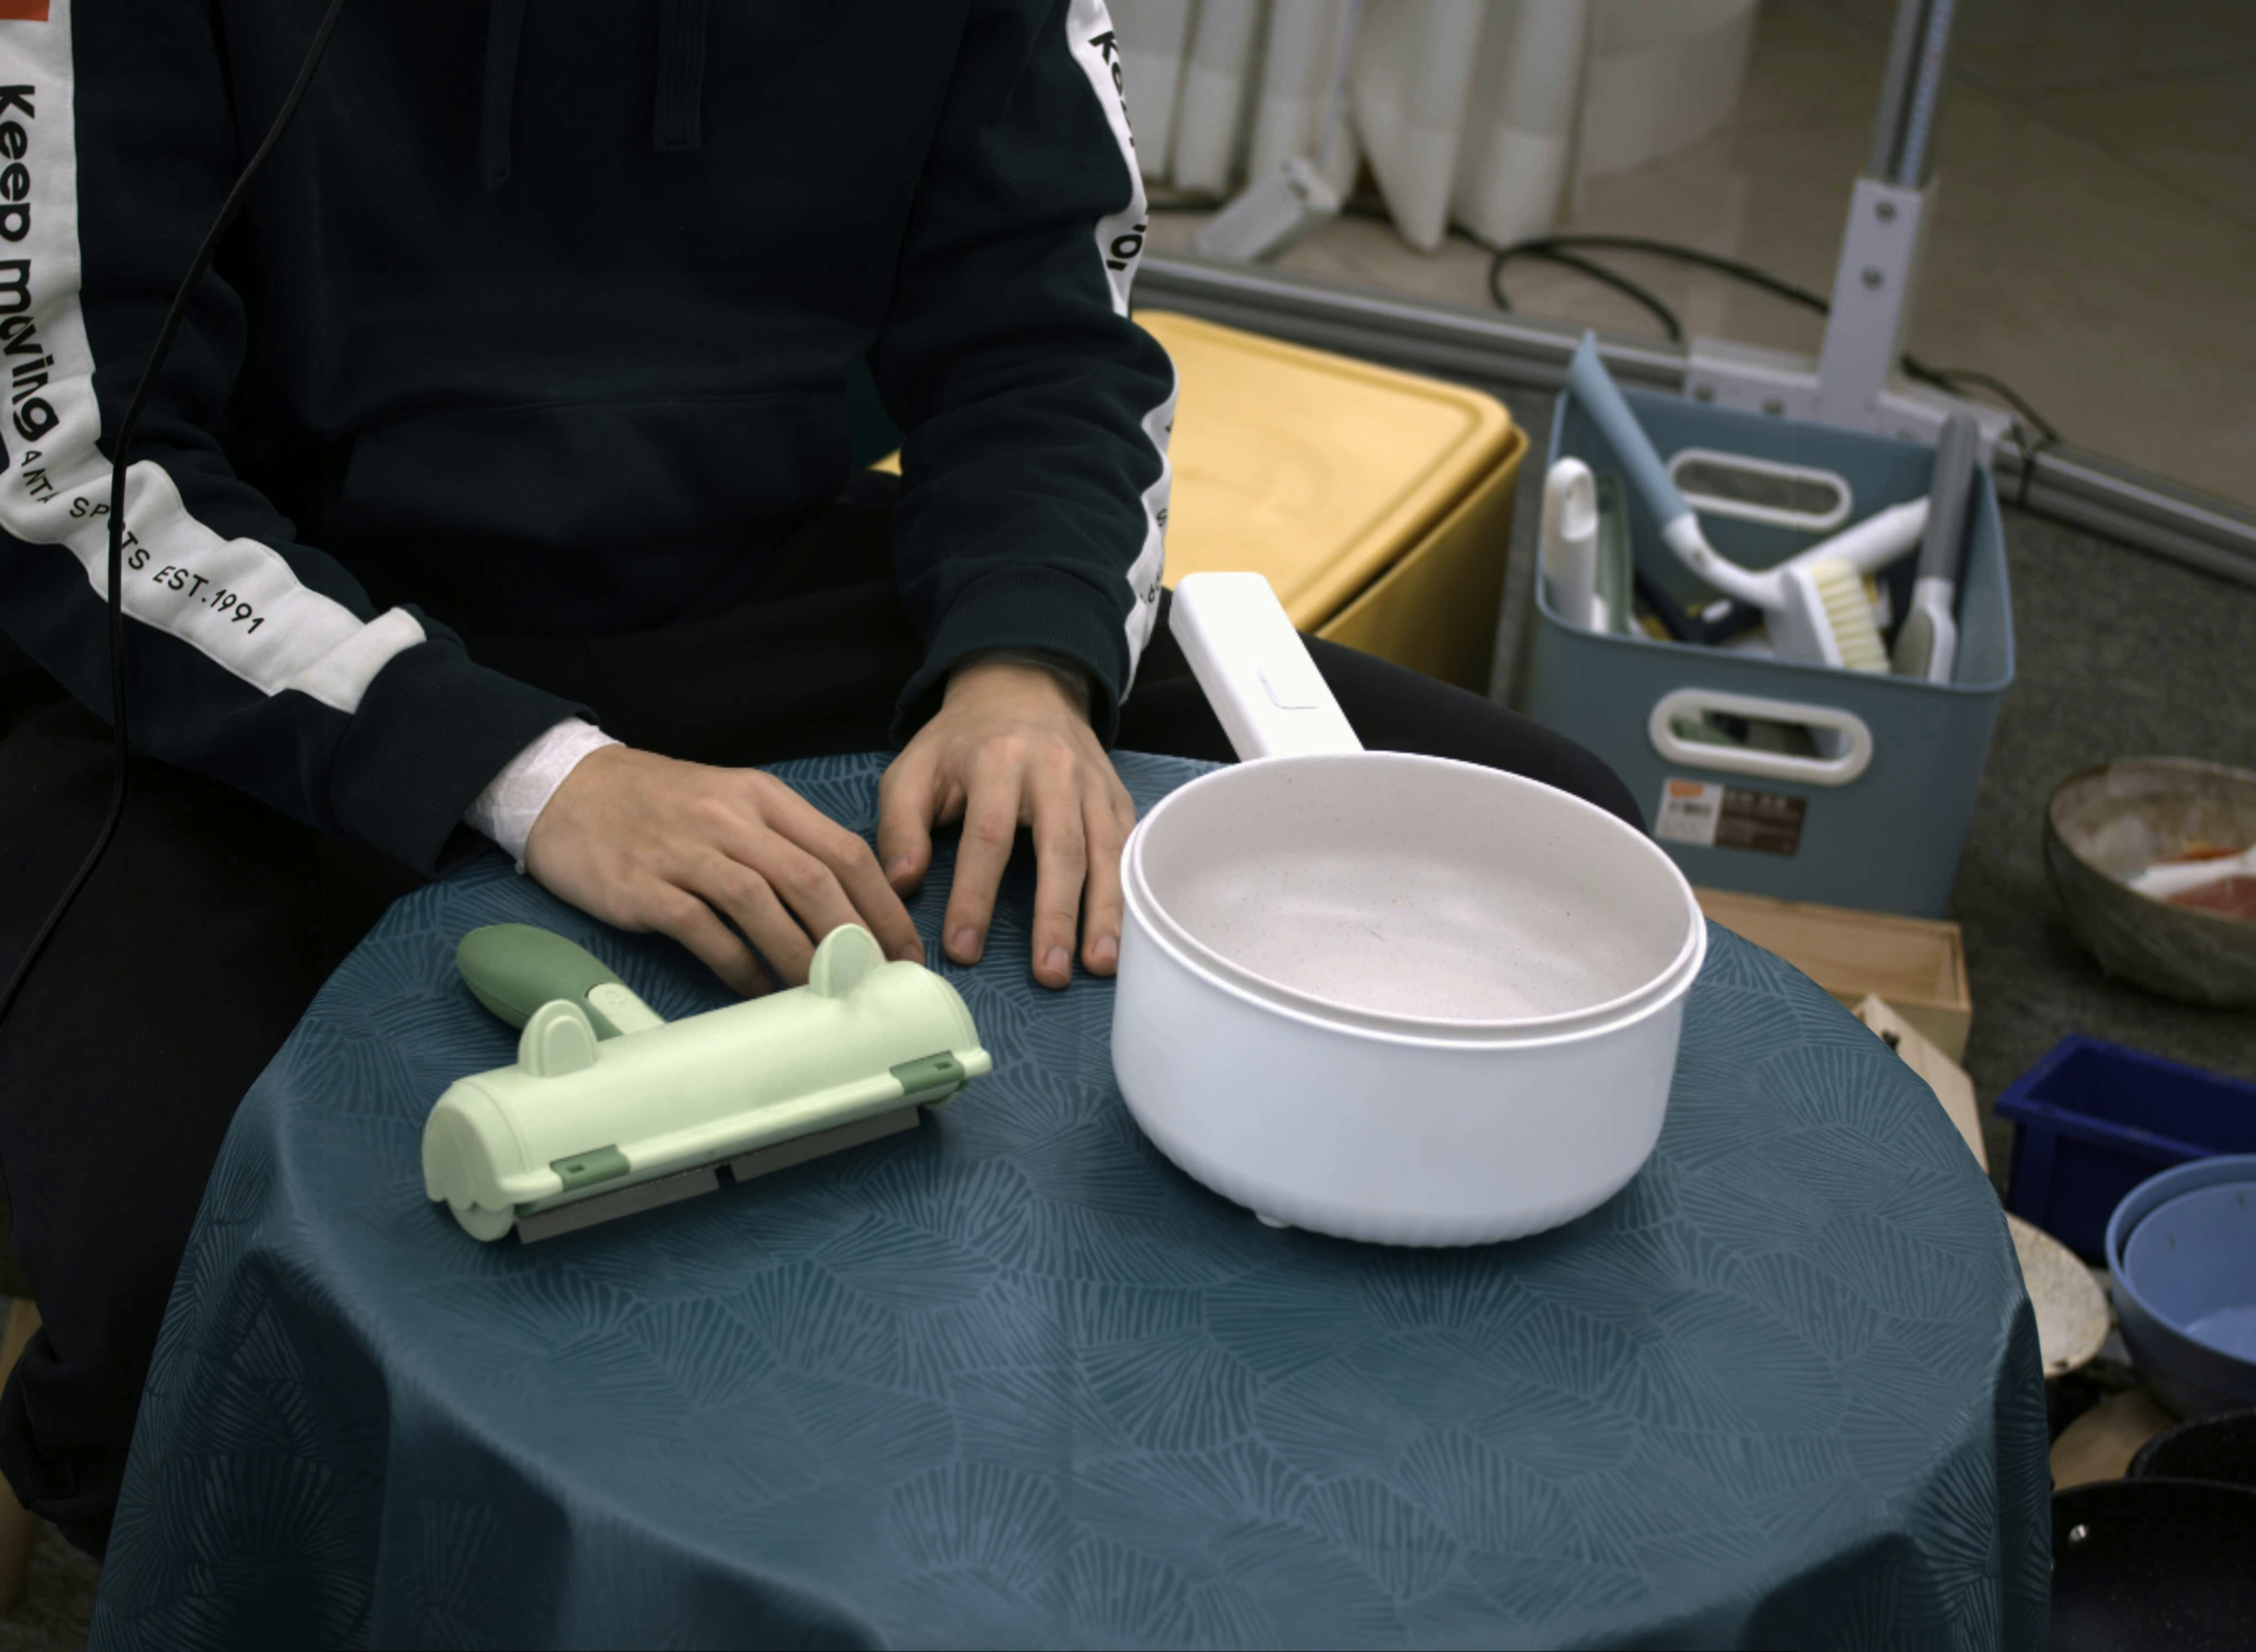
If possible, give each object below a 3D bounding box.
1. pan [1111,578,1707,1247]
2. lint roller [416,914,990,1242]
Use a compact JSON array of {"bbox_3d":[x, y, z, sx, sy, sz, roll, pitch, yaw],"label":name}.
[{"bbox_3d":[0.076,0.028,1.895,0.200,0.102,0.358,-1,27,-14],"label":"pan"},{"bbox_3d":[-0.173,0.057,1.807,0.197,0.082,0.185,-14,39,-35],"label":"lint roller"}]
